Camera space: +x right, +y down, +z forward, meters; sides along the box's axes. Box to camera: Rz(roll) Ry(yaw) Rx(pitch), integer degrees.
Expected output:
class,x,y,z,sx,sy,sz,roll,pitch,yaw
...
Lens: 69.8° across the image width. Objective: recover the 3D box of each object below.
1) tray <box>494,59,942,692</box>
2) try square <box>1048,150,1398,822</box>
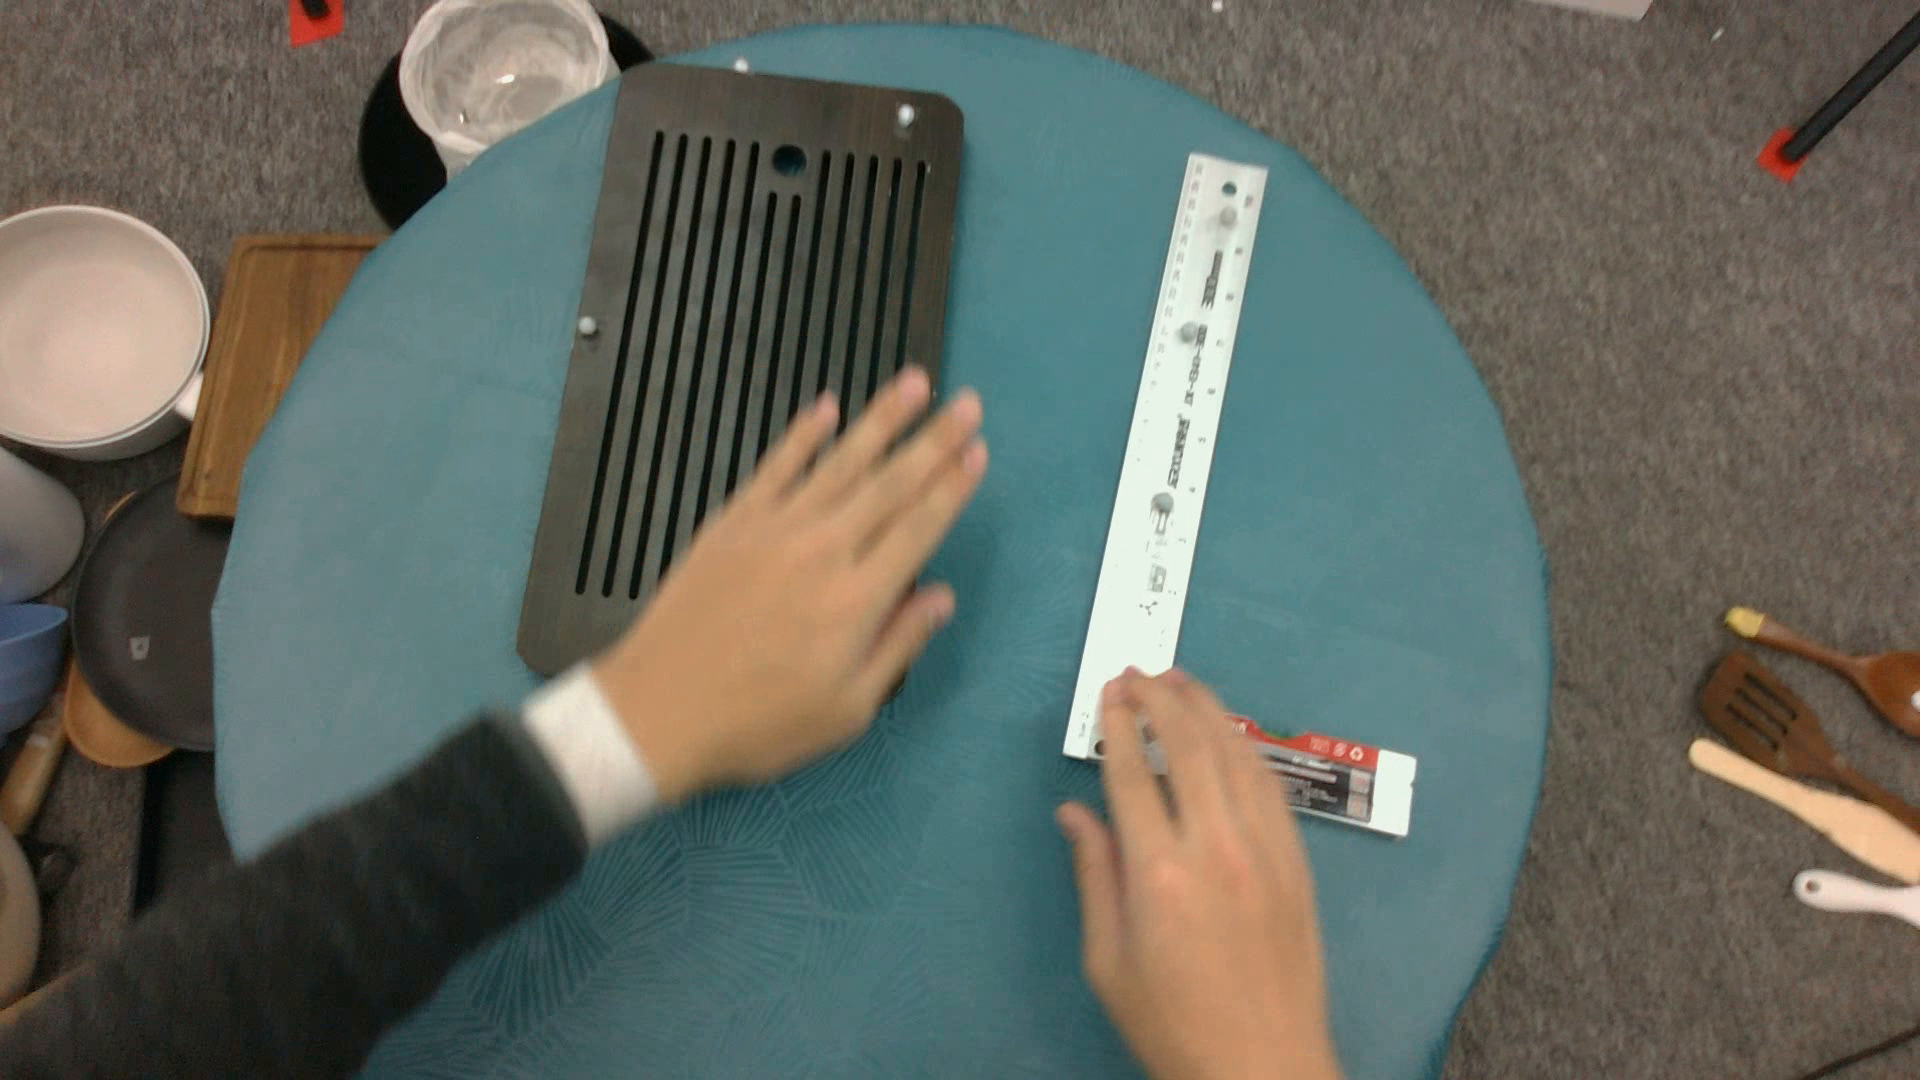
class,x,y,z,sx,sy,sz,roll,pitch,yaw
tray,-0.105,-0.085,0.643,0.170,0.018,0.307,6,72,-2
try square,0.145,-0.037,0.648,0.152,0.016,0.314,13,71,1
